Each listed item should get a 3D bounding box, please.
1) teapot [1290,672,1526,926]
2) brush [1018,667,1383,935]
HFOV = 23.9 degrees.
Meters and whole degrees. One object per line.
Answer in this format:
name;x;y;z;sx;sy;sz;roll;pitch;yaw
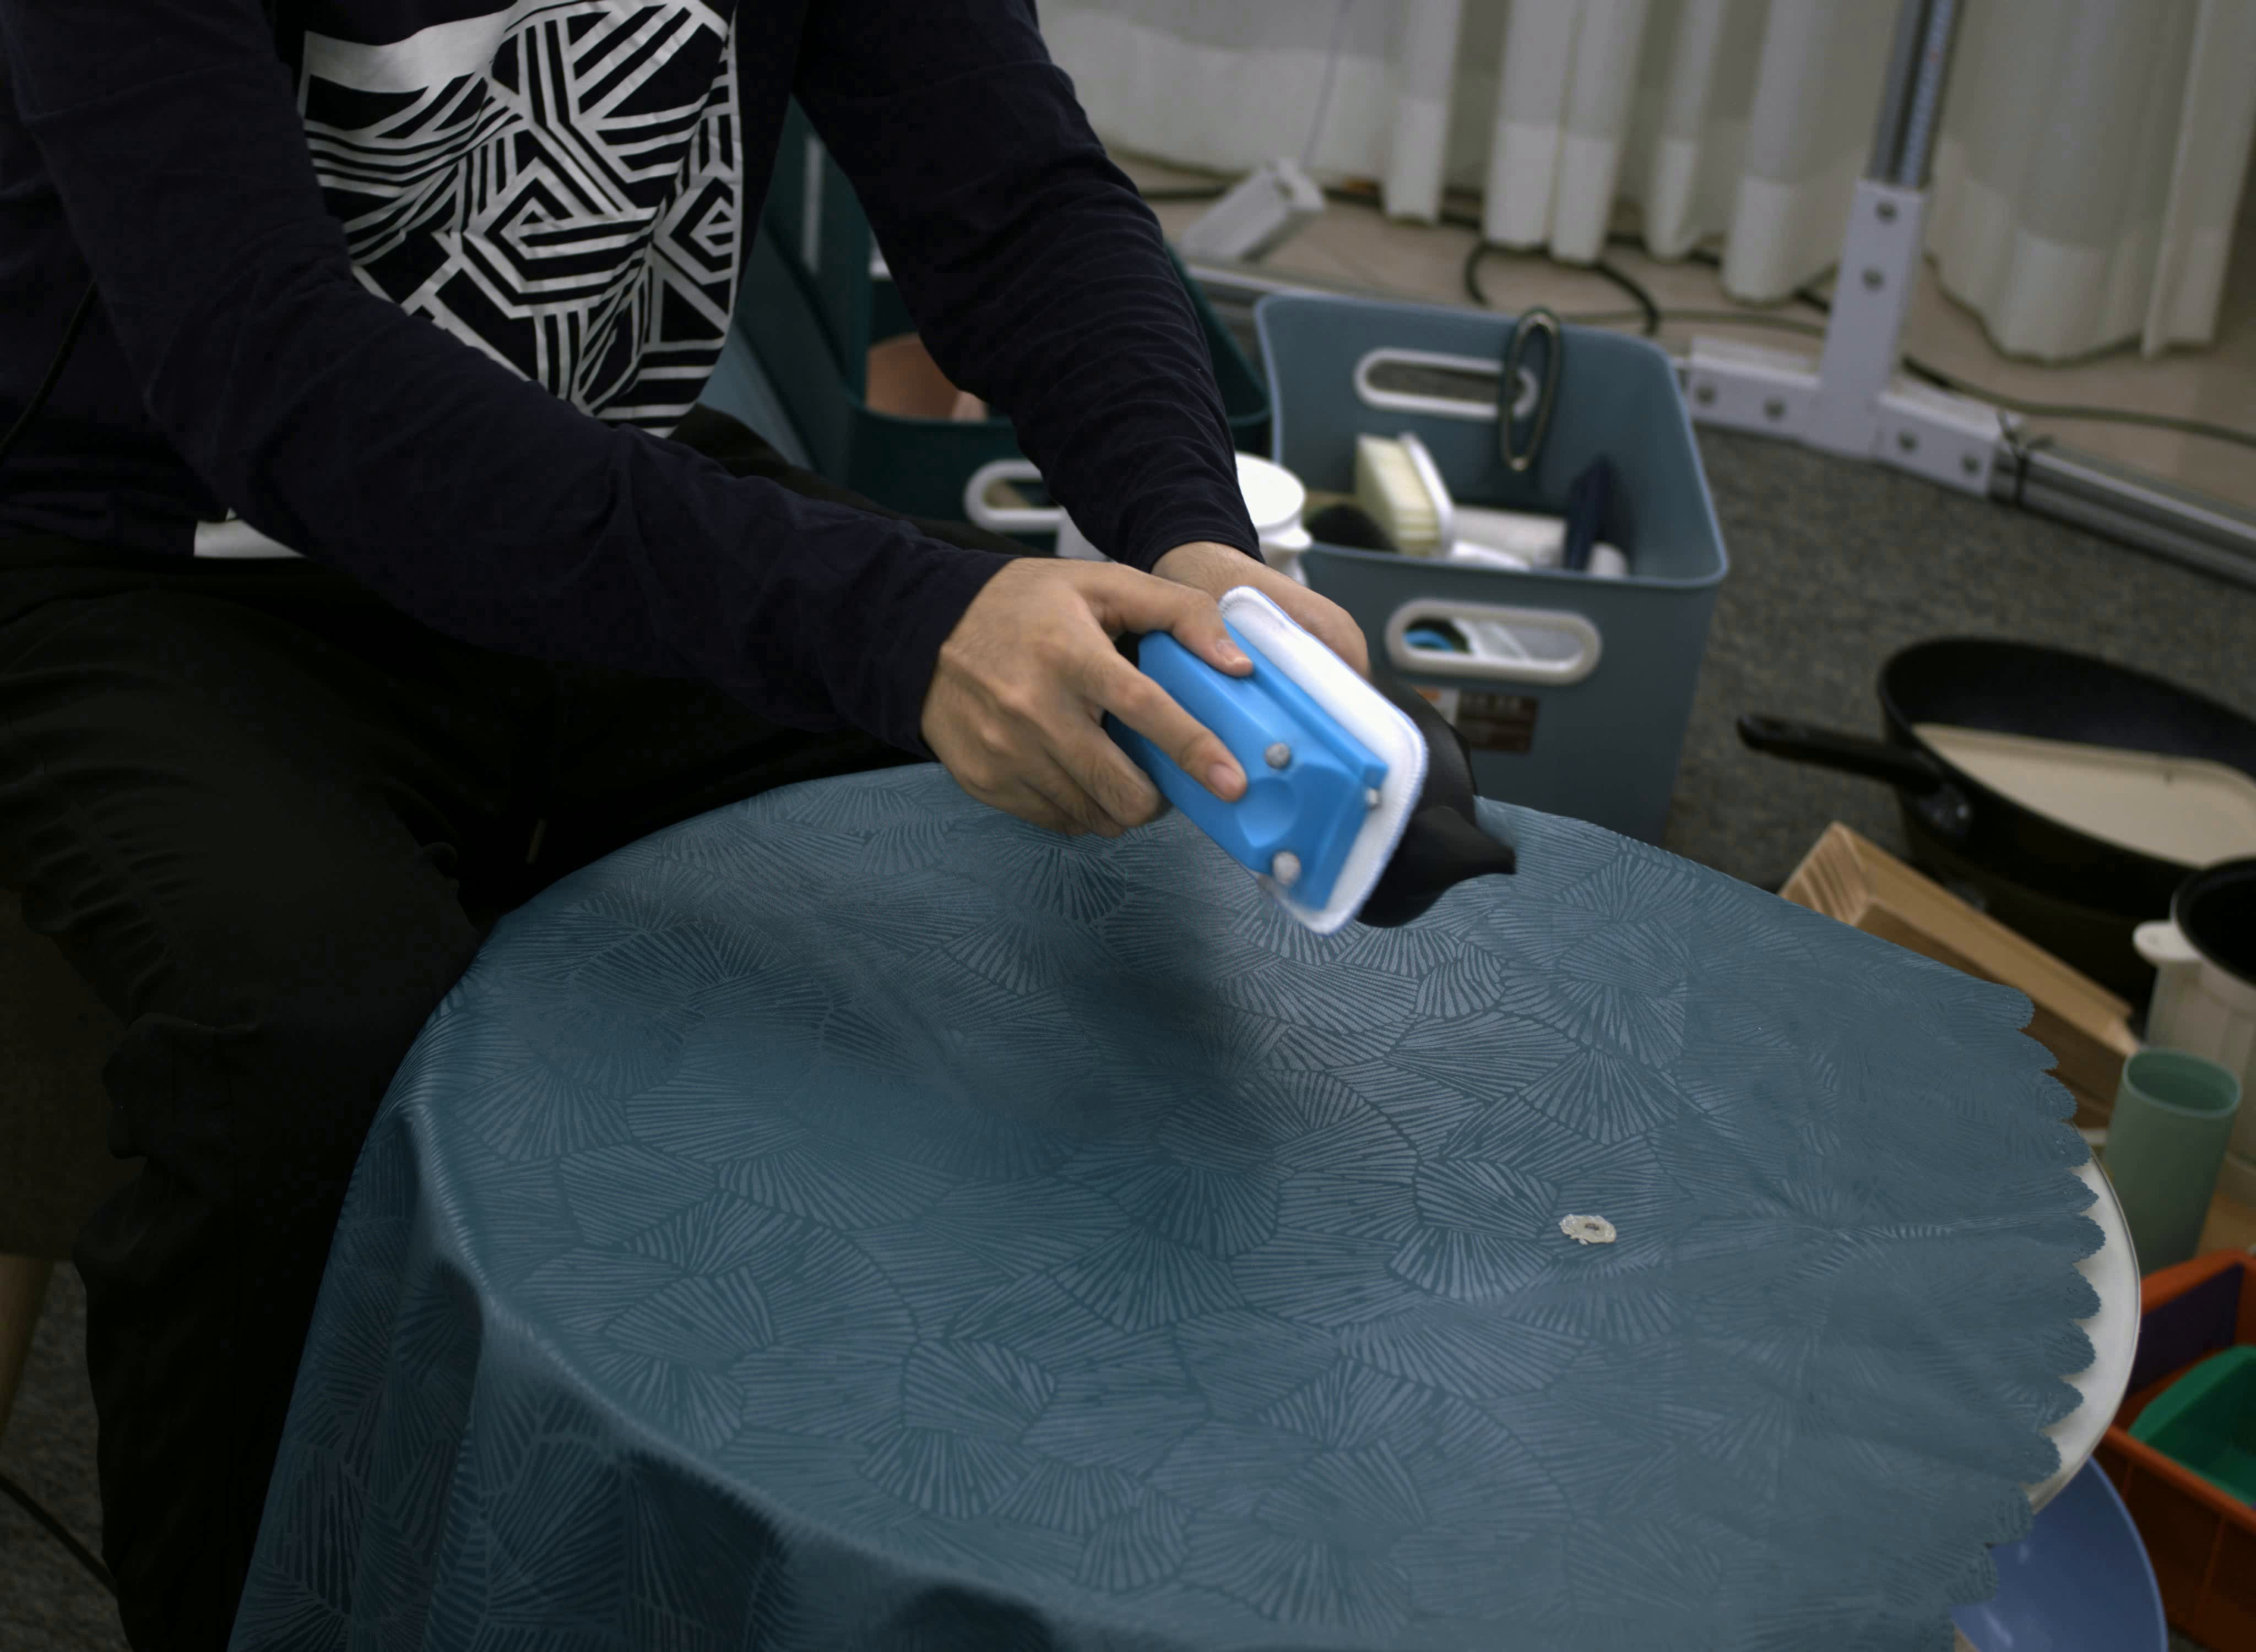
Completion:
teapot;0.087;-0.011;1.851;0.053;0.090;0.134;-17;33;-16
brush;0.016;-0.013;1.814;0.145;0.084;0.055;13;-11;43
